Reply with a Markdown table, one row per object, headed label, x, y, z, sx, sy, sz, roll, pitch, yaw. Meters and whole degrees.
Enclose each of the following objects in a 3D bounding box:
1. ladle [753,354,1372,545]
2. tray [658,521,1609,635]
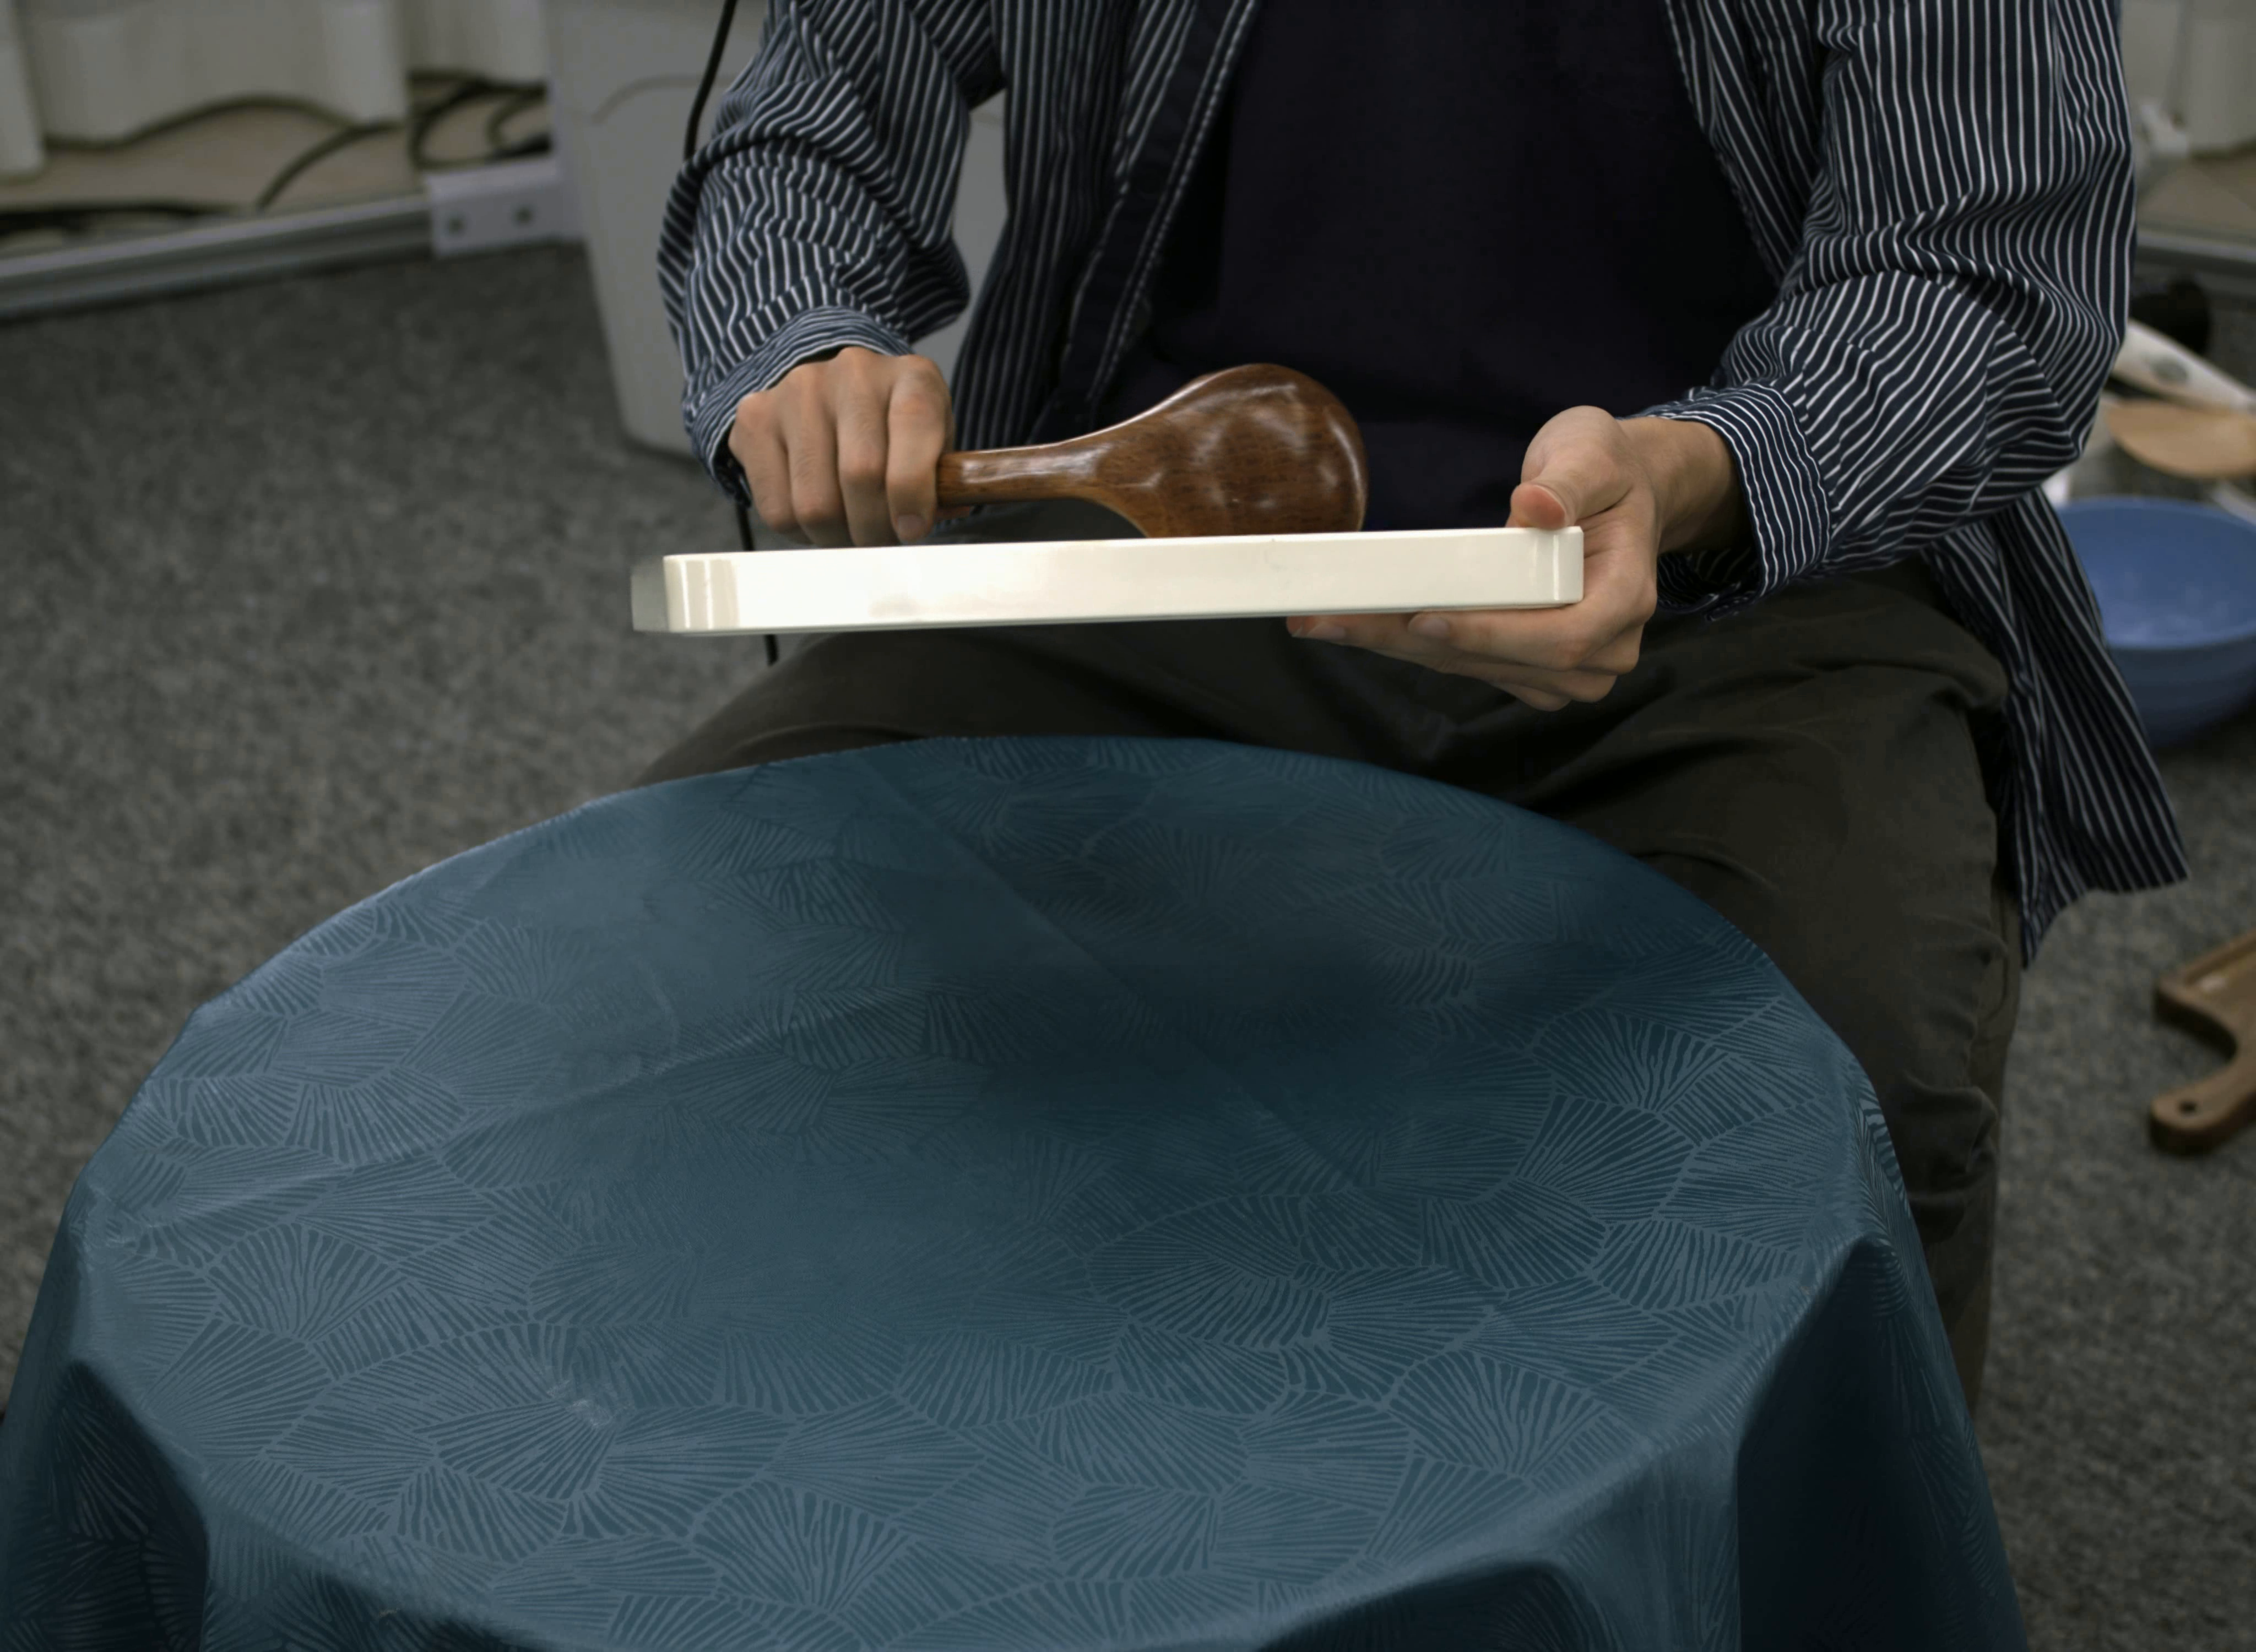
| label | x | y | z | sx | sy | sz | roll | pitch | yaw |
| --- | --- | --- | --- | --- | --- | --- | --- | --- | --- |
| ladle | -0.024 | -0.118 | 1.994 | 0.076 | 0.083 | 0.271 | 22 | -15 | -36 |
| tray | -0.002 | -0.082 | 1.882 | 0.299 | 0.027 | 0.191 | -2 | 2 | -9 |
